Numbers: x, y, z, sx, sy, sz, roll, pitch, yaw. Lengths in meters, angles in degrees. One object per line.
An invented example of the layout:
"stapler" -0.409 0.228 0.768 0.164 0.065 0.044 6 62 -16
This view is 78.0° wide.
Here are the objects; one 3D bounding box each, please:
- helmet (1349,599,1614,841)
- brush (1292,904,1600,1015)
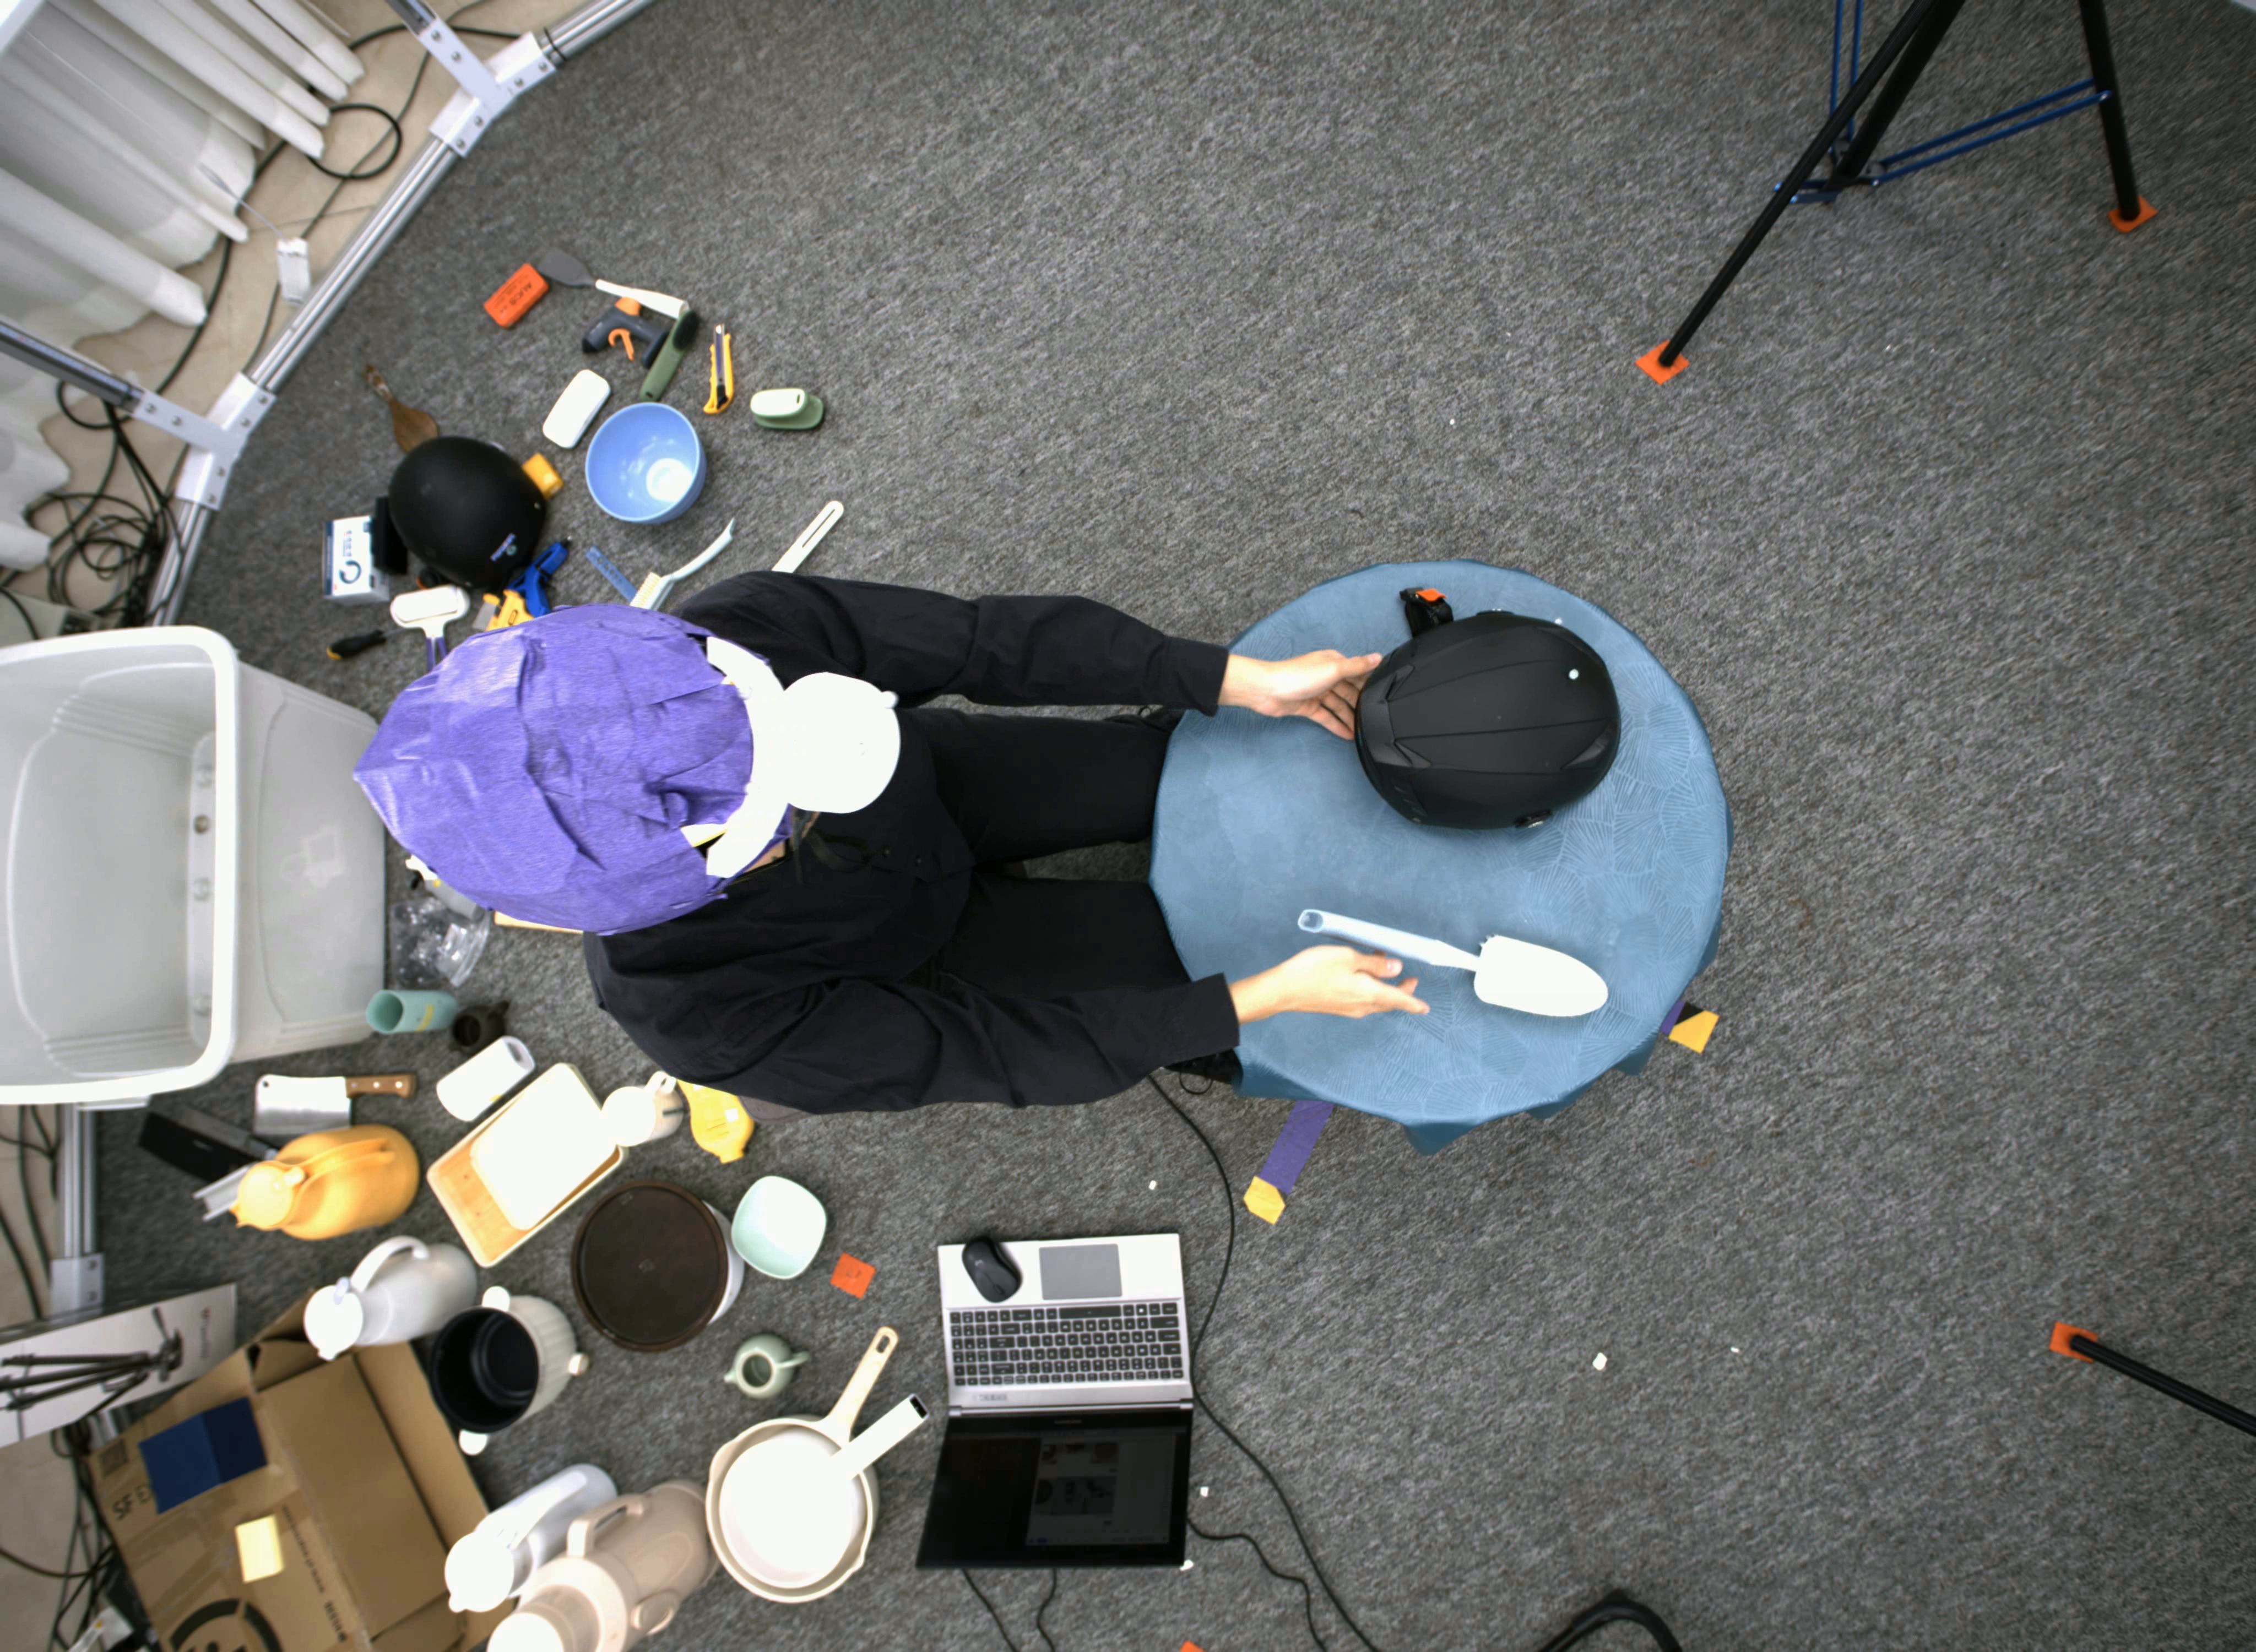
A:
"helmet" 0.361 -0.116 1.365 0.277 0.173 0.245 -8 85 2
"brush" 0.320 0.124 1.404 0.326 0.087 0.081 15 51 -2
